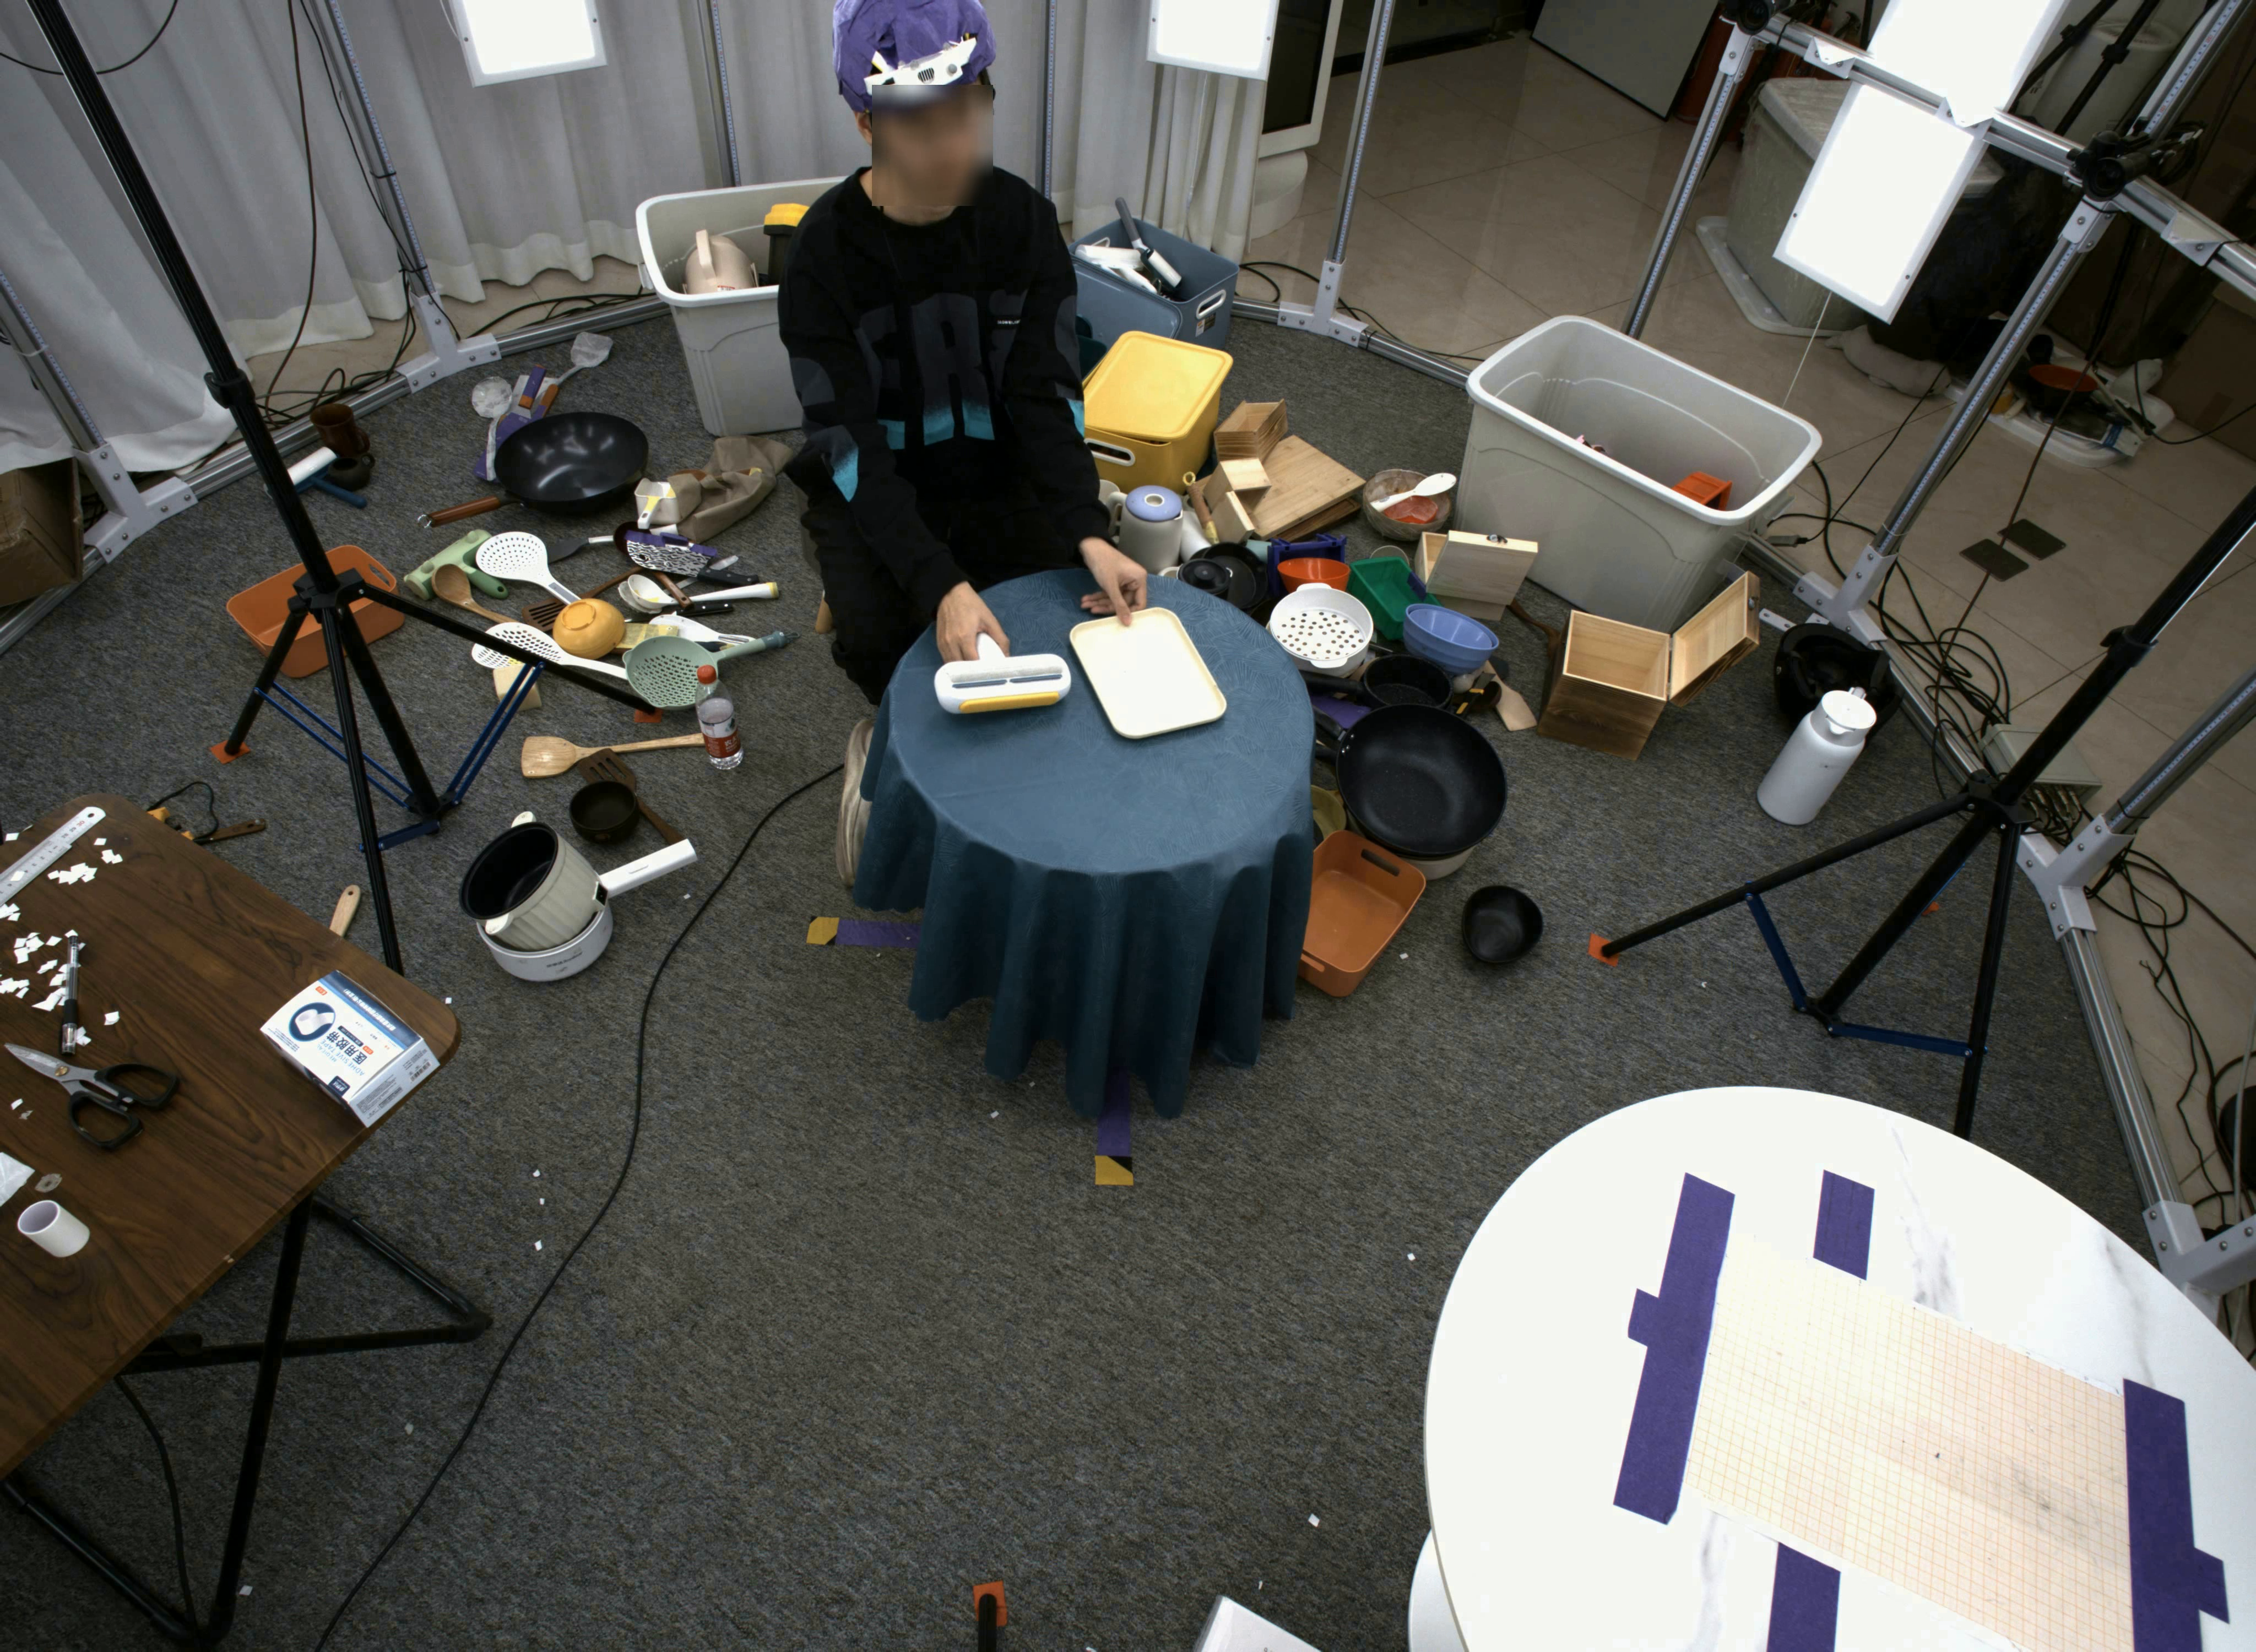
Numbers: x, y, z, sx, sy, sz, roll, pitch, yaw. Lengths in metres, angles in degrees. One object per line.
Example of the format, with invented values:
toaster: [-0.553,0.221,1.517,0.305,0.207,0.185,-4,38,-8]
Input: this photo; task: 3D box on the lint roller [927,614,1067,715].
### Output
lint roller: [-0.196,-0.238,1.810,0.192,0.072,0.197,-7,55,-18]

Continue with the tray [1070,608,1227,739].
tray: [0.027,-0.222,1.850,0.171,0.017,0.245,-14,52,-15]
